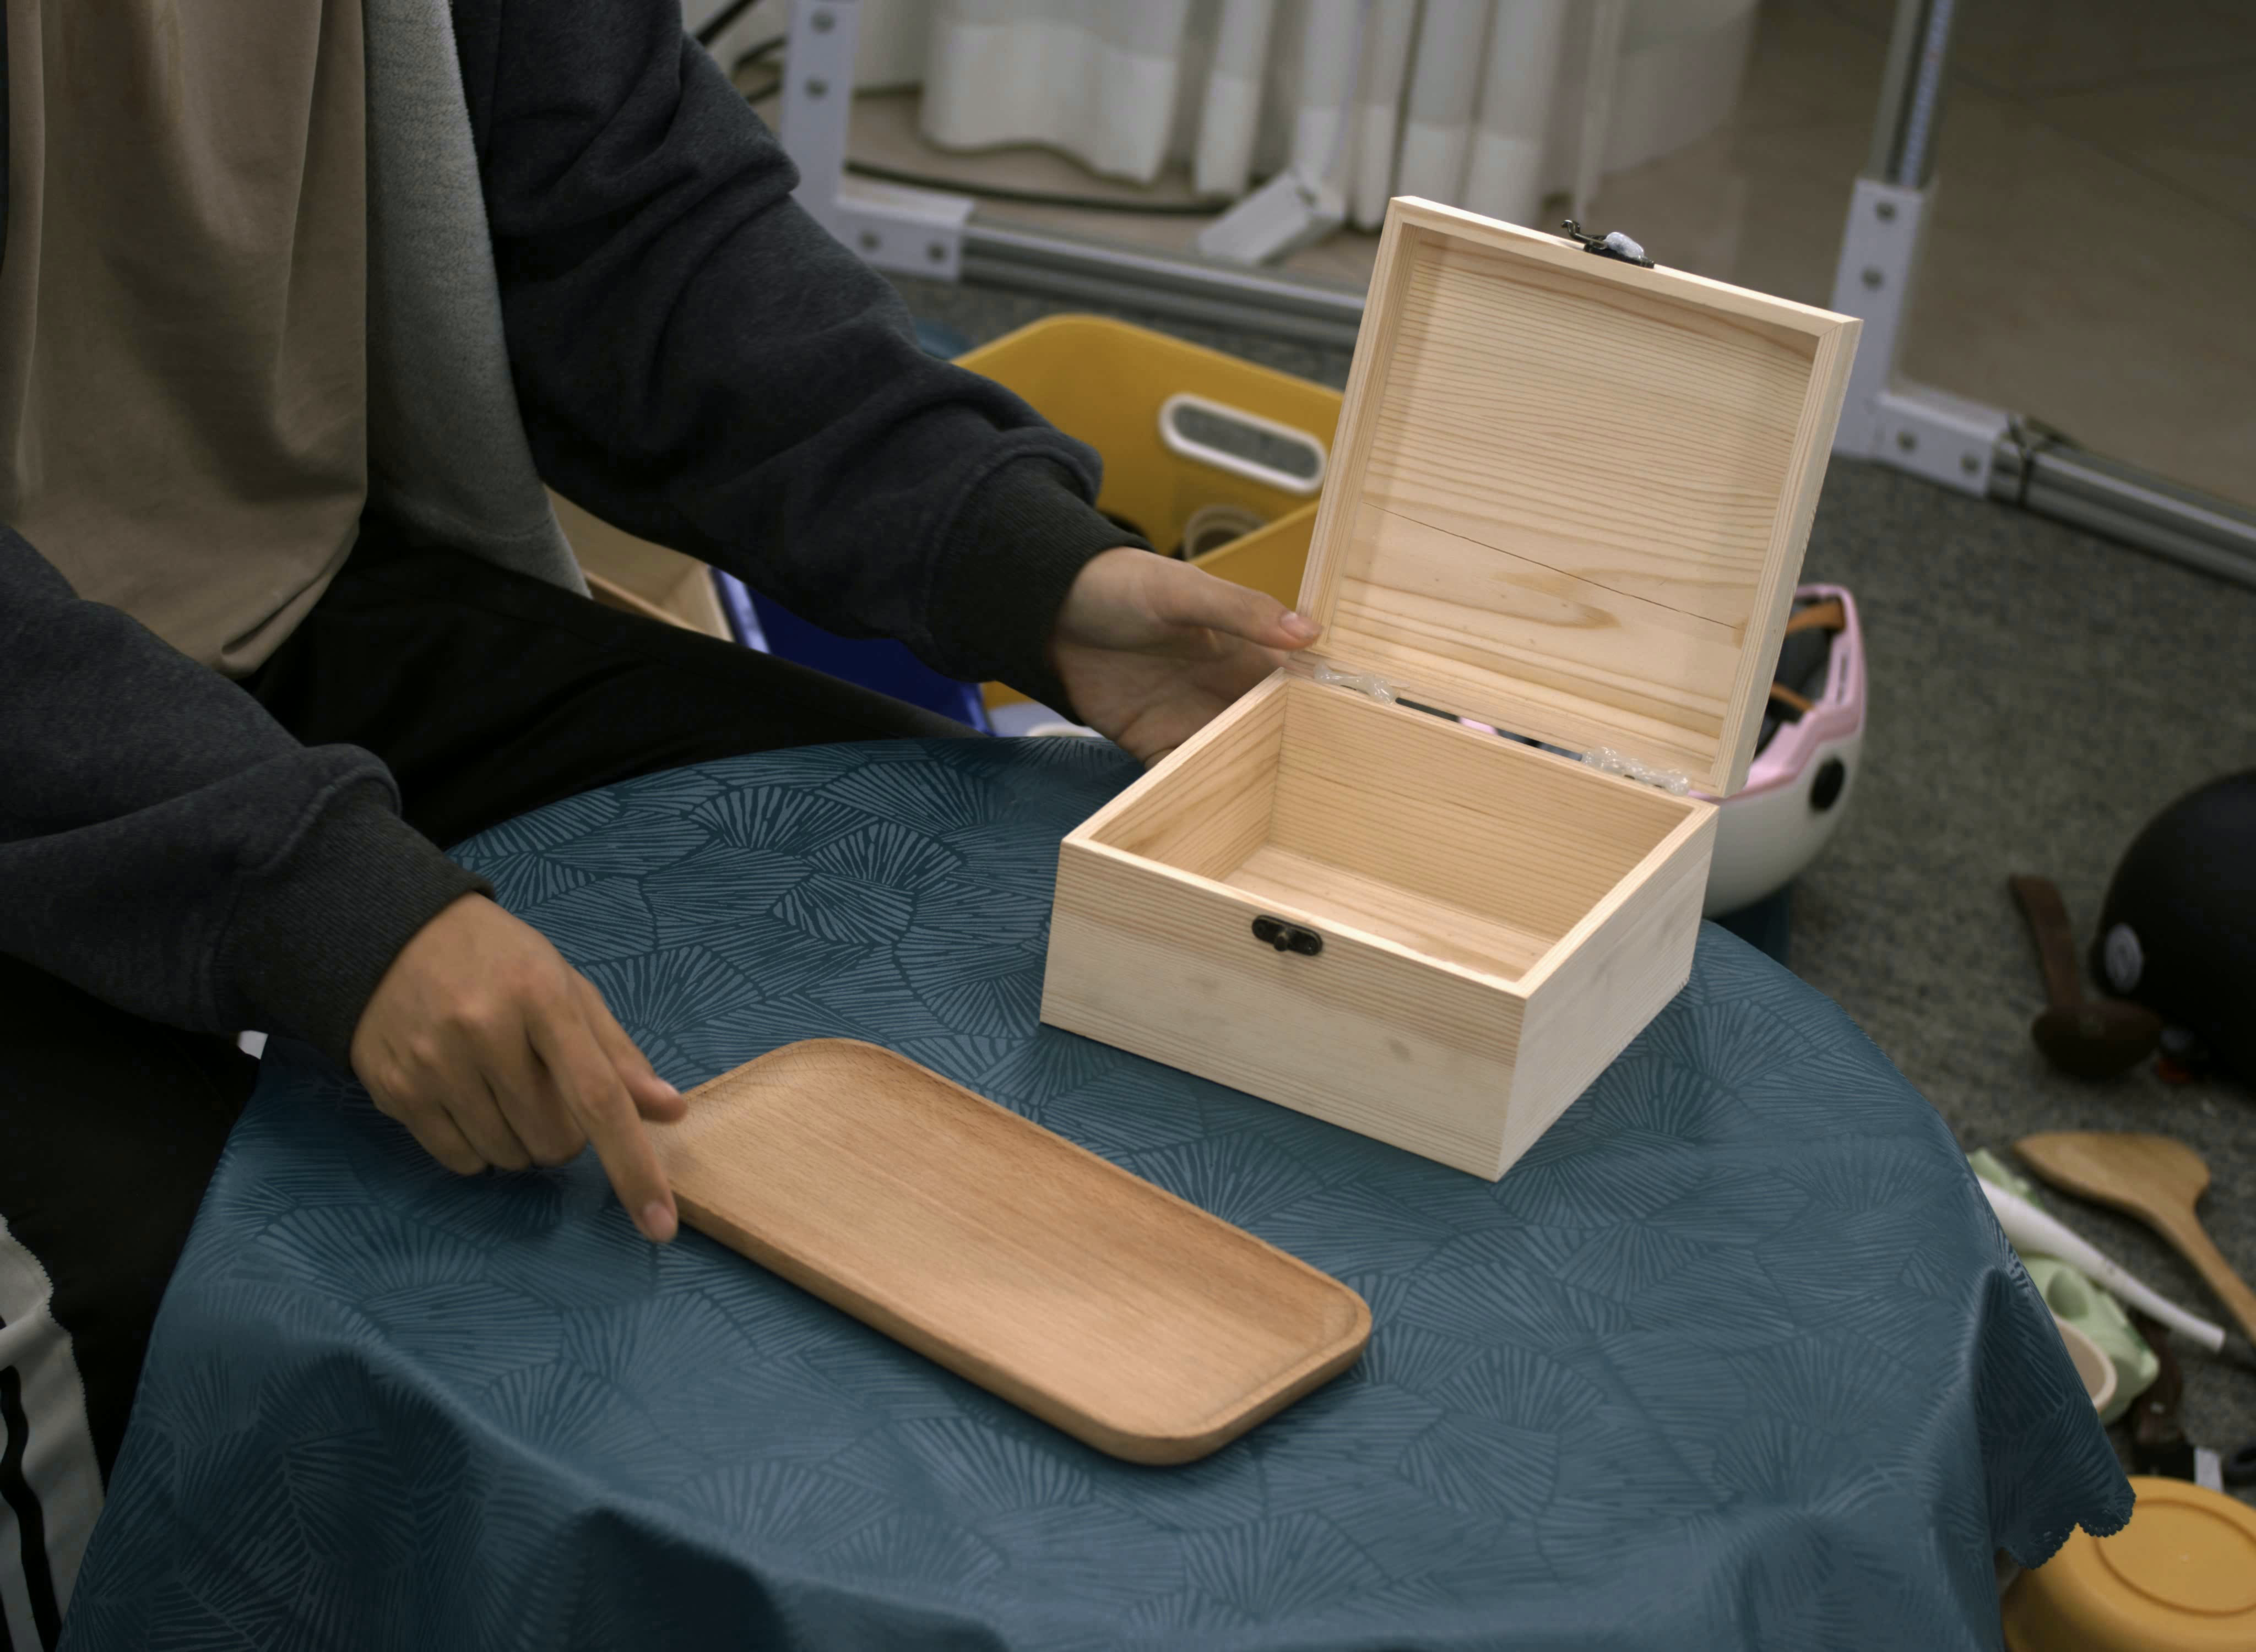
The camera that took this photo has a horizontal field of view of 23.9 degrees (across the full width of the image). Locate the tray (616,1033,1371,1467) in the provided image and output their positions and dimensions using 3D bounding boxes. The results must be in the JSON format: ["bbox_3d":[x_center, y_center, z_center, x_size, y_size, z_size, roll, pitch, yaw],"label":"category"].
[{"bbox_3d":[-0.046,0.137,1.746,0.252,0.023,0.130,25,29,33],"label":"tray"}]

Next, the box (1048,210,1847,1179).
[{"bbox_3d":[0.115,-0.057,1.913,0.182,0.252,0.265,15,27,22],"label":"box"}]
